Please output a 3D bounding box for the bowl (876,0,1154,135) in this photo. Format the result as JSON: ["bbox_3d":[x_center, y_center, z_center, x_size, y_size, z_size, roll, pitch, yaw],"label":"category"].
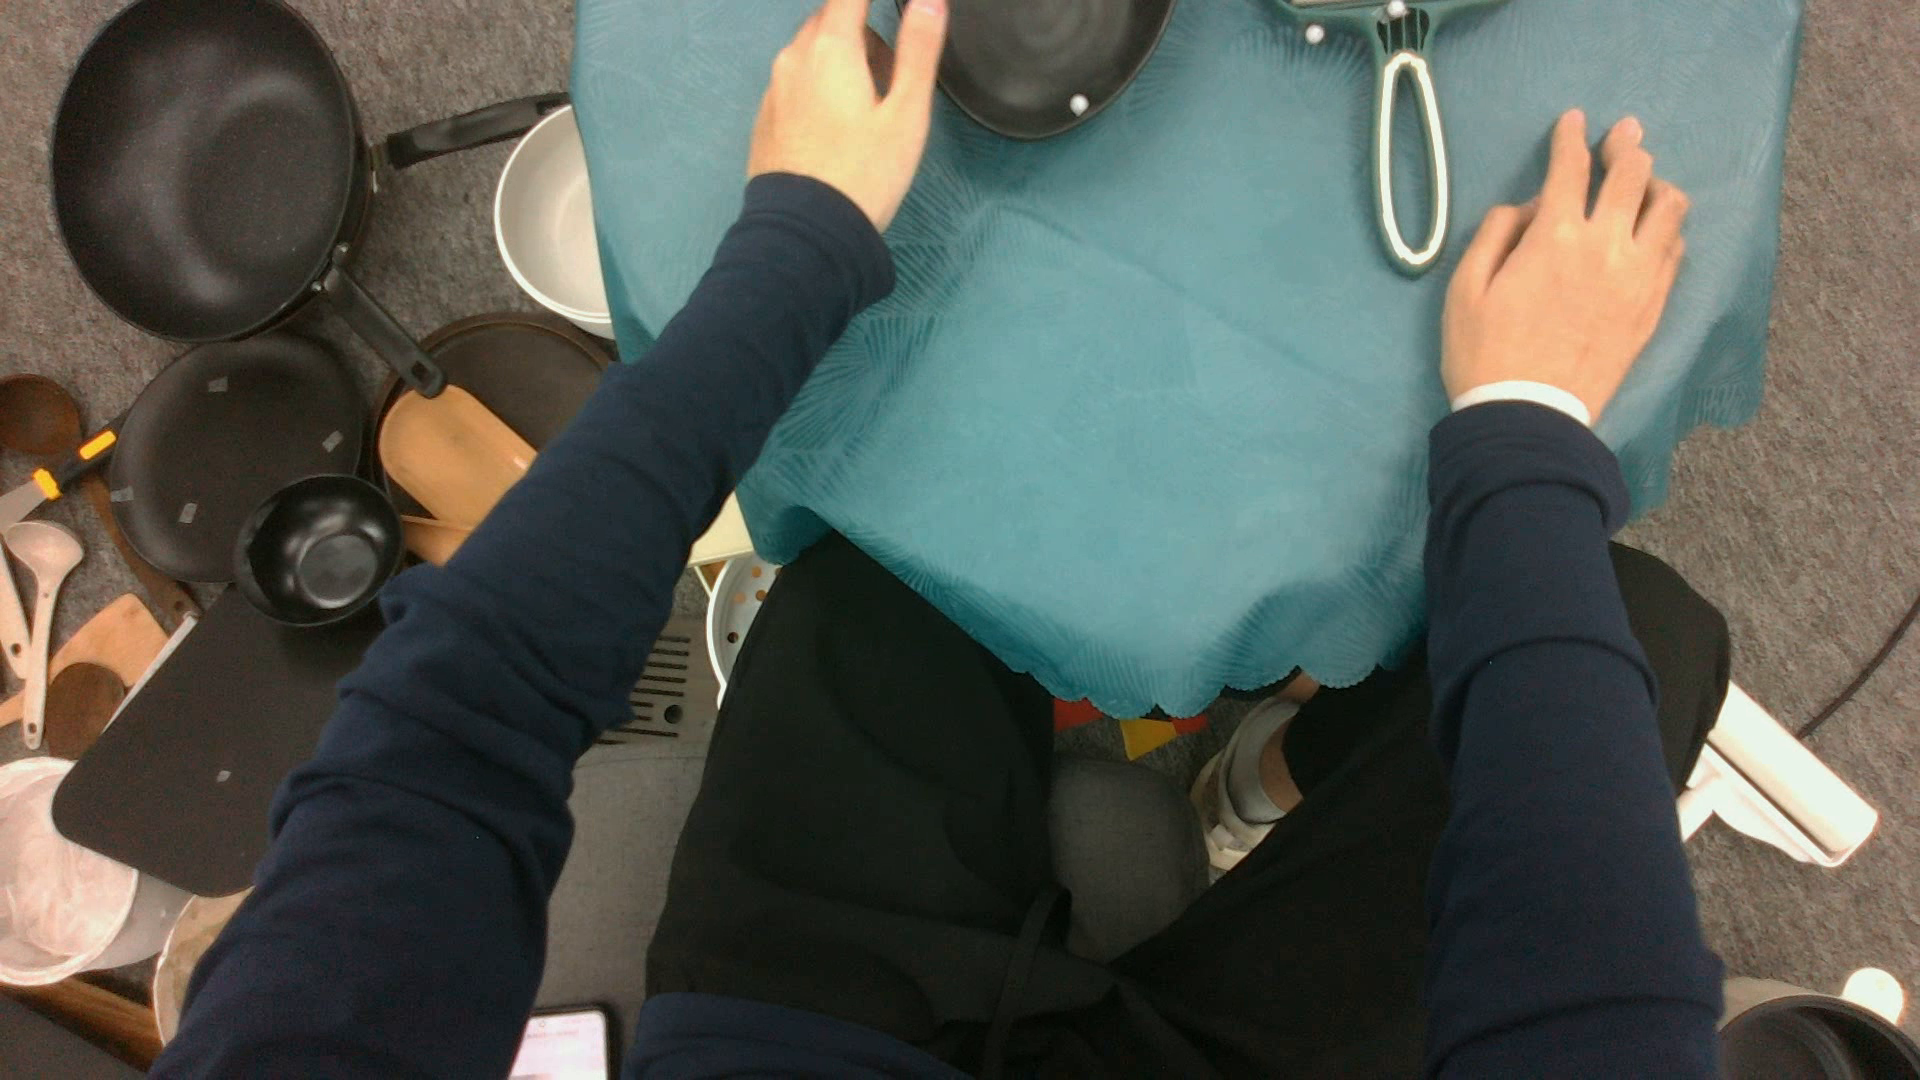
[{"bbox_3d":[0.027,-0.271,0.659,0.137,0.066,0.170,-1,84,3],"label":"bowl"}]

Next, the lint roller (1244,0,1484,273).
[{"bbox_3d":[0.202,-0.221,0.658,0.134,0.048,0.180,-4,87,2],"label":"lint roller"}]
